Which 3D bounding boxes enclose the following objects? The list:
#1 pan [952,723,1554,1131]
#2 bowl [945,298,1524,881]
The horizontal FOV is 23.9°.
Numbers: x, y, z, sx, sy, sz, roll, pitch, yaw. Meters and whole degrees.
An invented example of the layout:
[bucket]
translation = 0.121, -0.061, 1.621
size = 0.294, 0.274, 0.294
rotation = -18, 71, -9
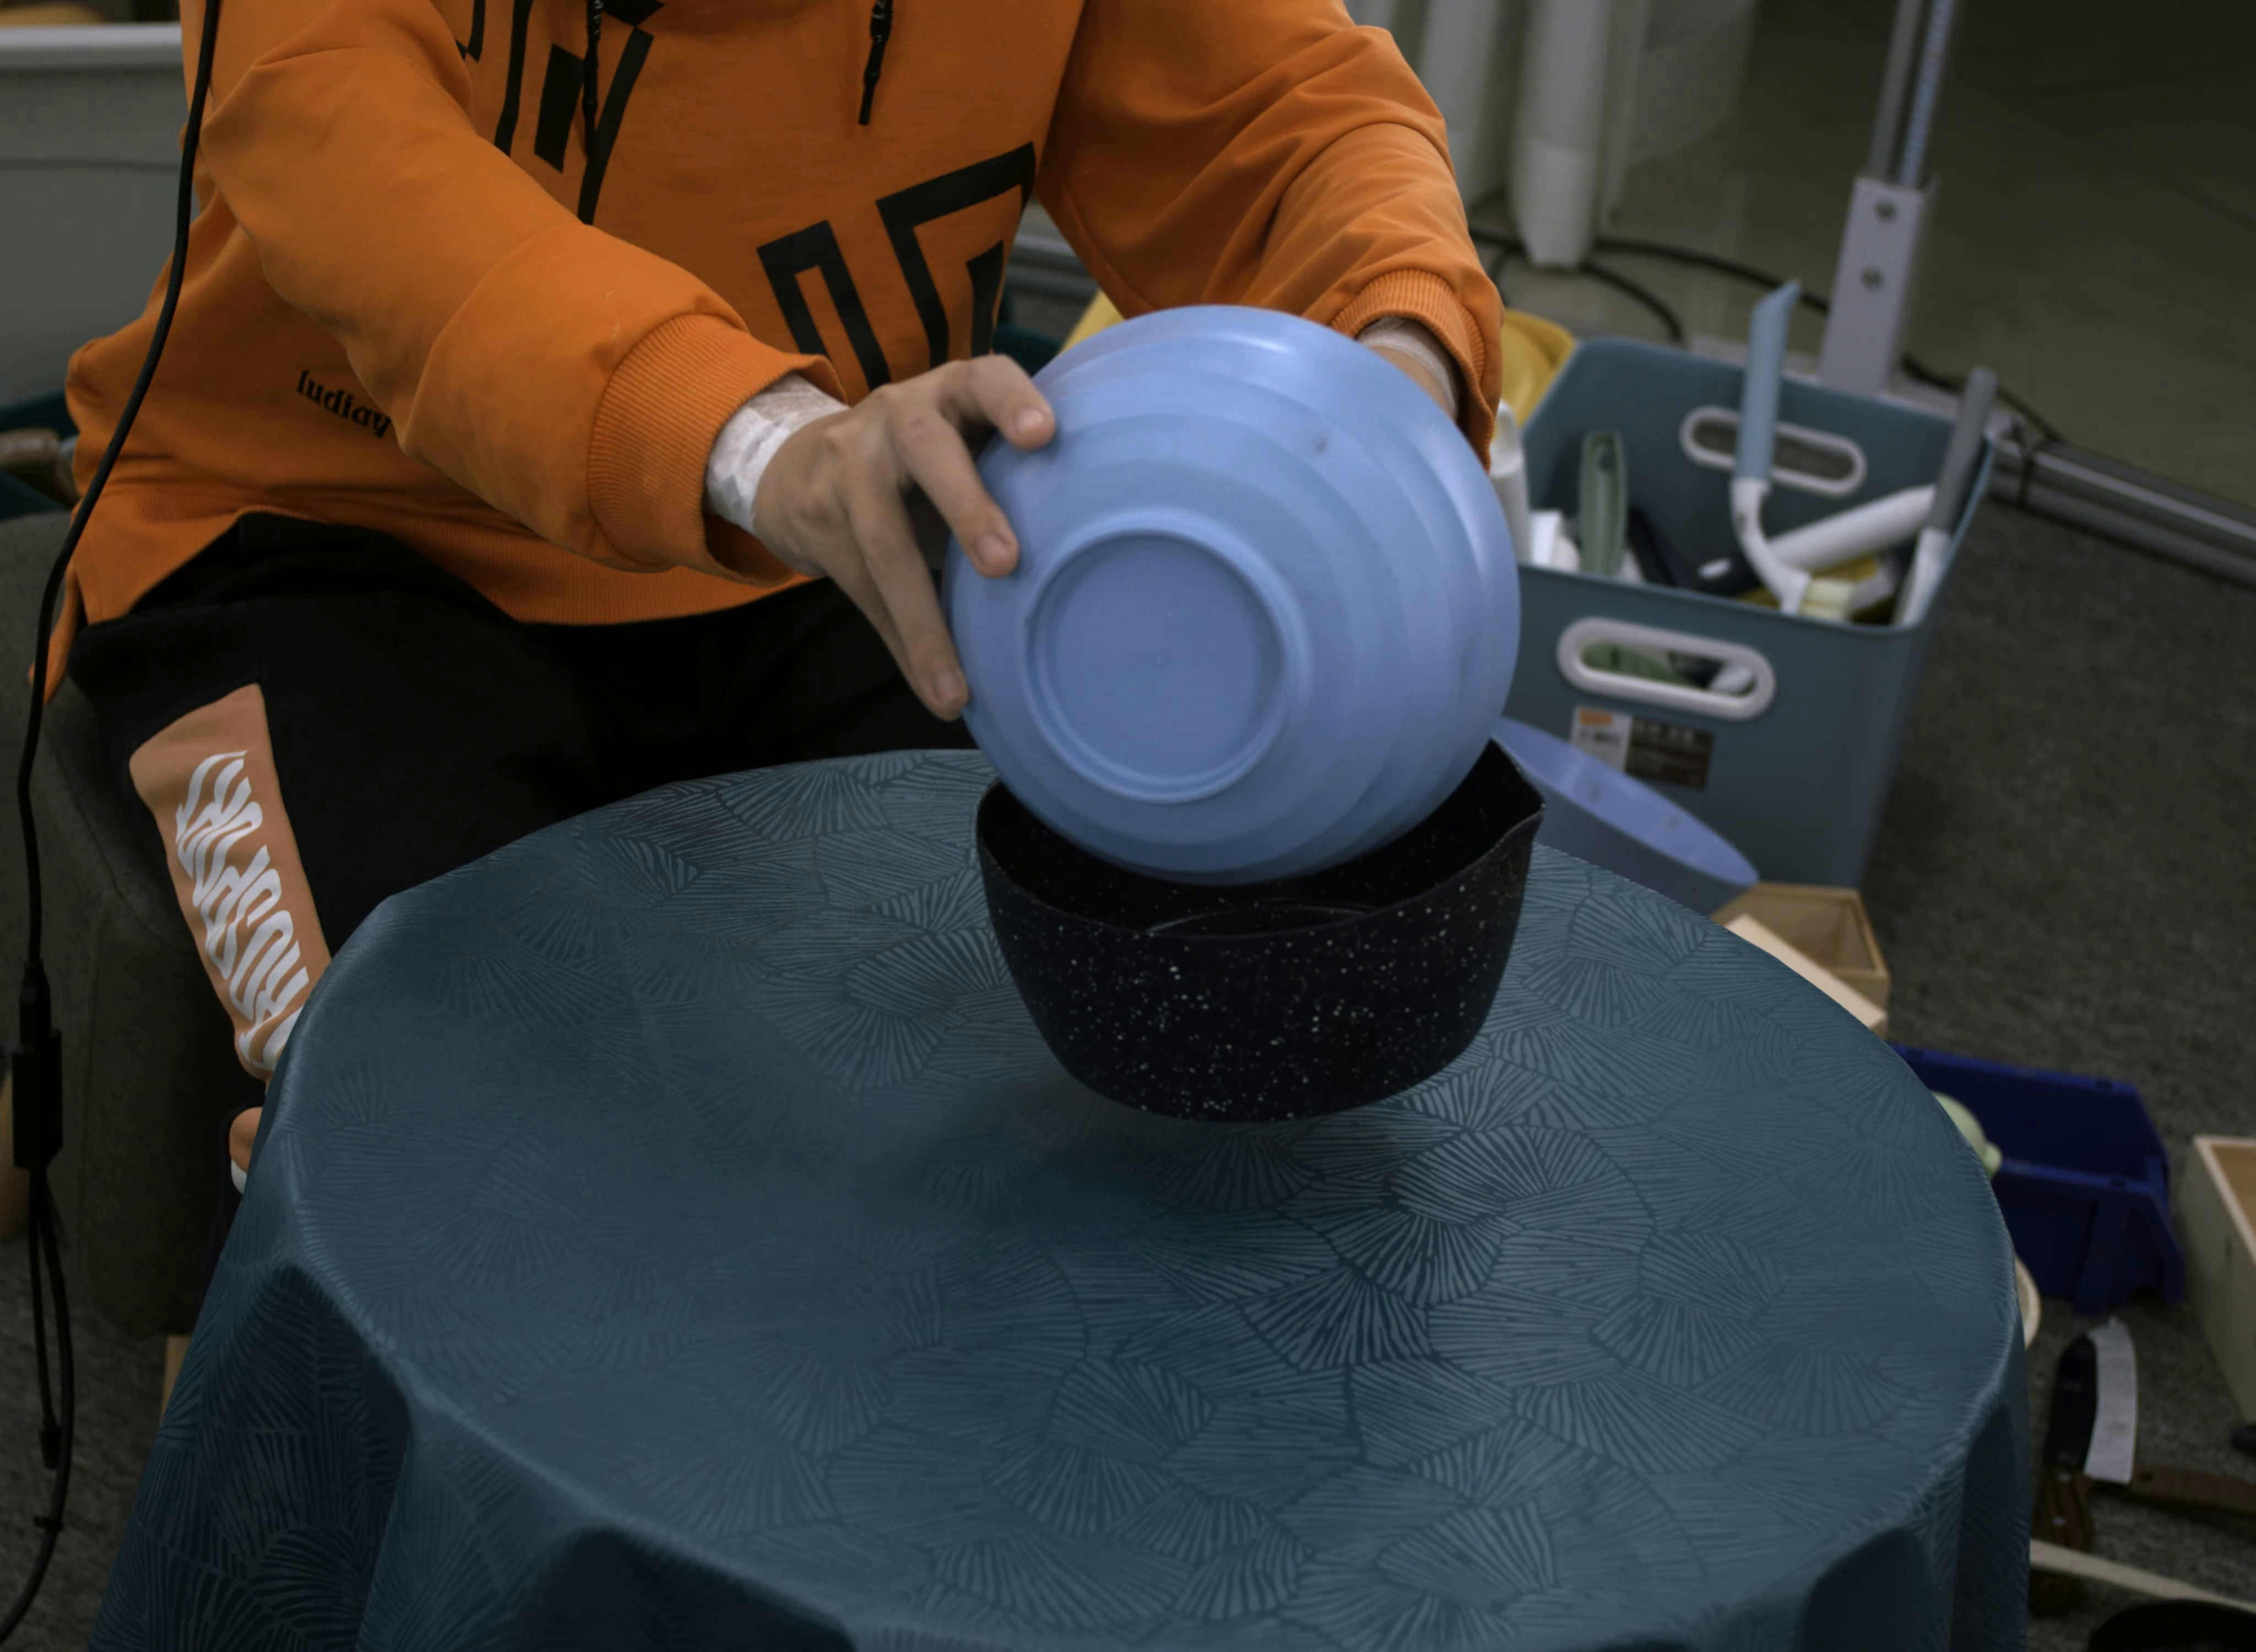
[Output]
[pan]
translation = 0.052, -0.018, 1.874
size = 0.207, 0.108, 0.344
rotation = -2, 29, 9
[bowl]
translation = 0.022, -0.065, 1.724
size = 0.197, 0.196, 0.095
rotation = 14, 20, 14
